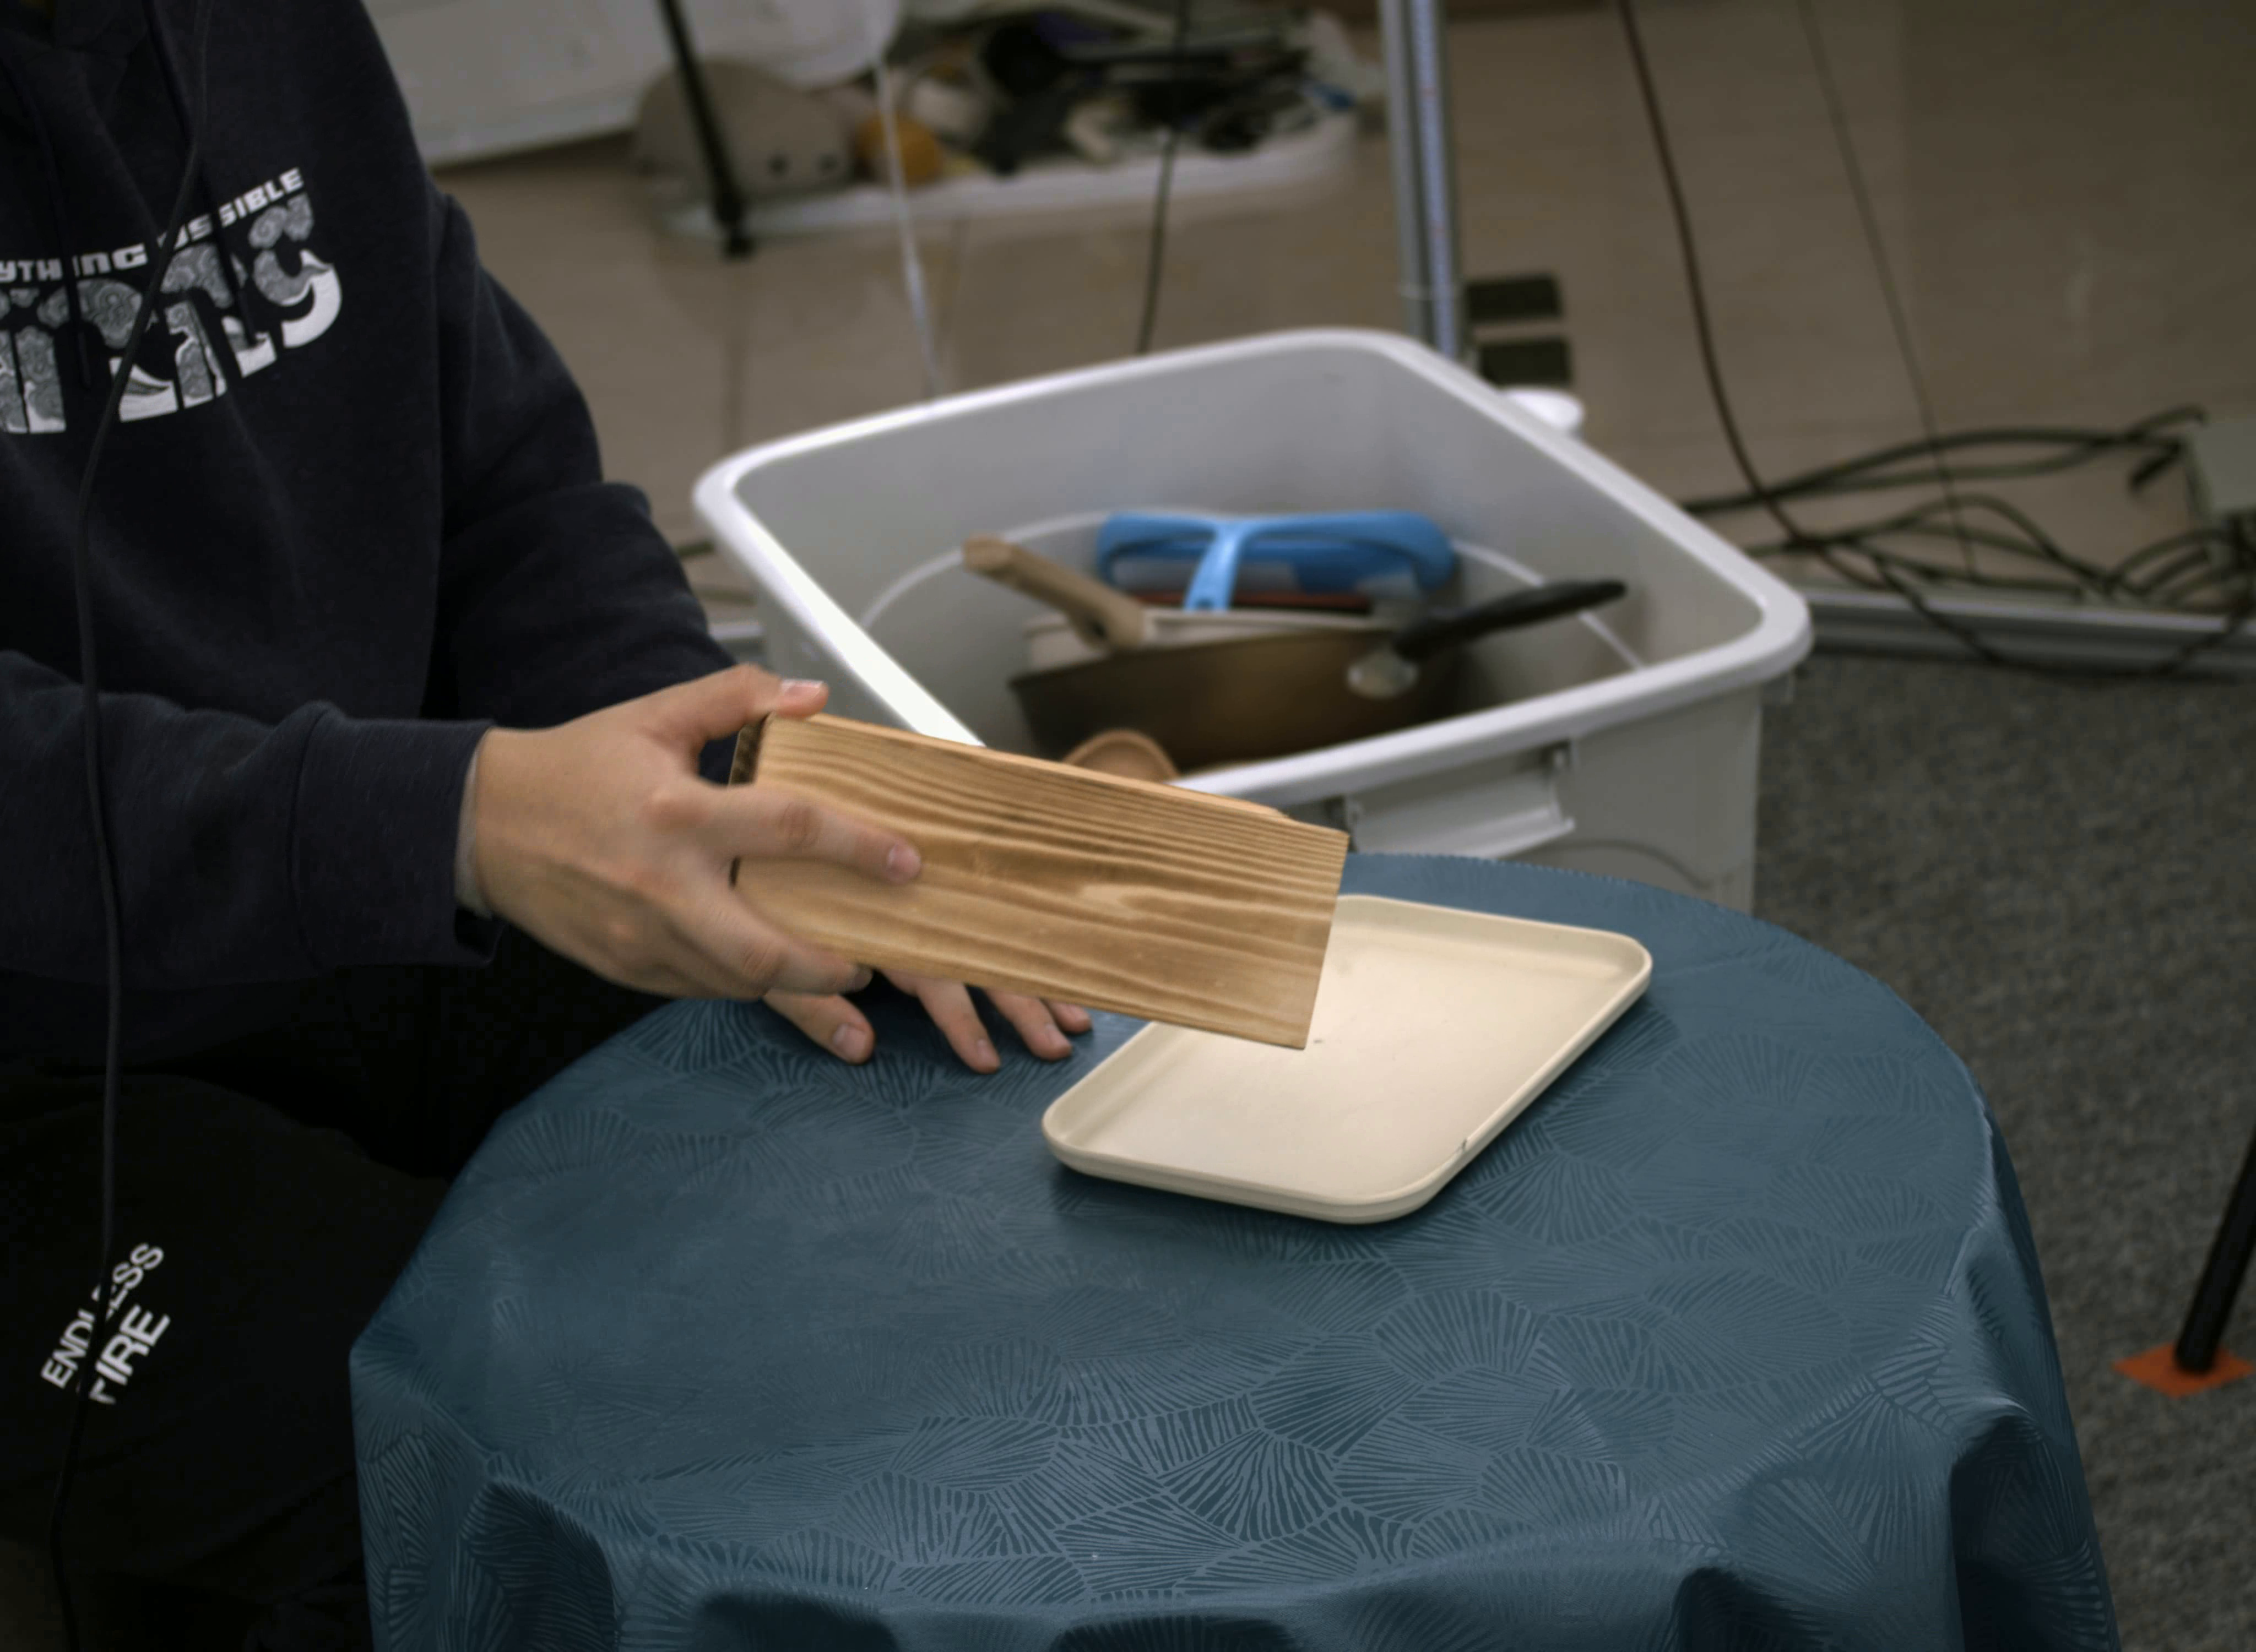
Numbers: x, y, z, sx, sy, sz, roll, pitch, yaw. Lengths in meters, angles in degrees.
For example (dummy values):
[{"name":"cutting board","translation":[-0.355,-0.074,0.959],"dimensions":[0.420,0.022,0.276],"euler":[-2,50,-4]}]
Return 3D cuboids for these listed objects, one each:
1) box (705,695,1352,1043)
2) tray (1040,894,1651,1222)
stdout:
[{"name":"box","translation":[-0.038,0.015,2.039],"dimensions":[0.211,0.080,0.107],"euler":[12,2,-11]},{"name":"tray","translation":[0.087,0.090,2.213],"dimensions":[0.170,0.018,0.237],"euler":[8,29,30]}]
